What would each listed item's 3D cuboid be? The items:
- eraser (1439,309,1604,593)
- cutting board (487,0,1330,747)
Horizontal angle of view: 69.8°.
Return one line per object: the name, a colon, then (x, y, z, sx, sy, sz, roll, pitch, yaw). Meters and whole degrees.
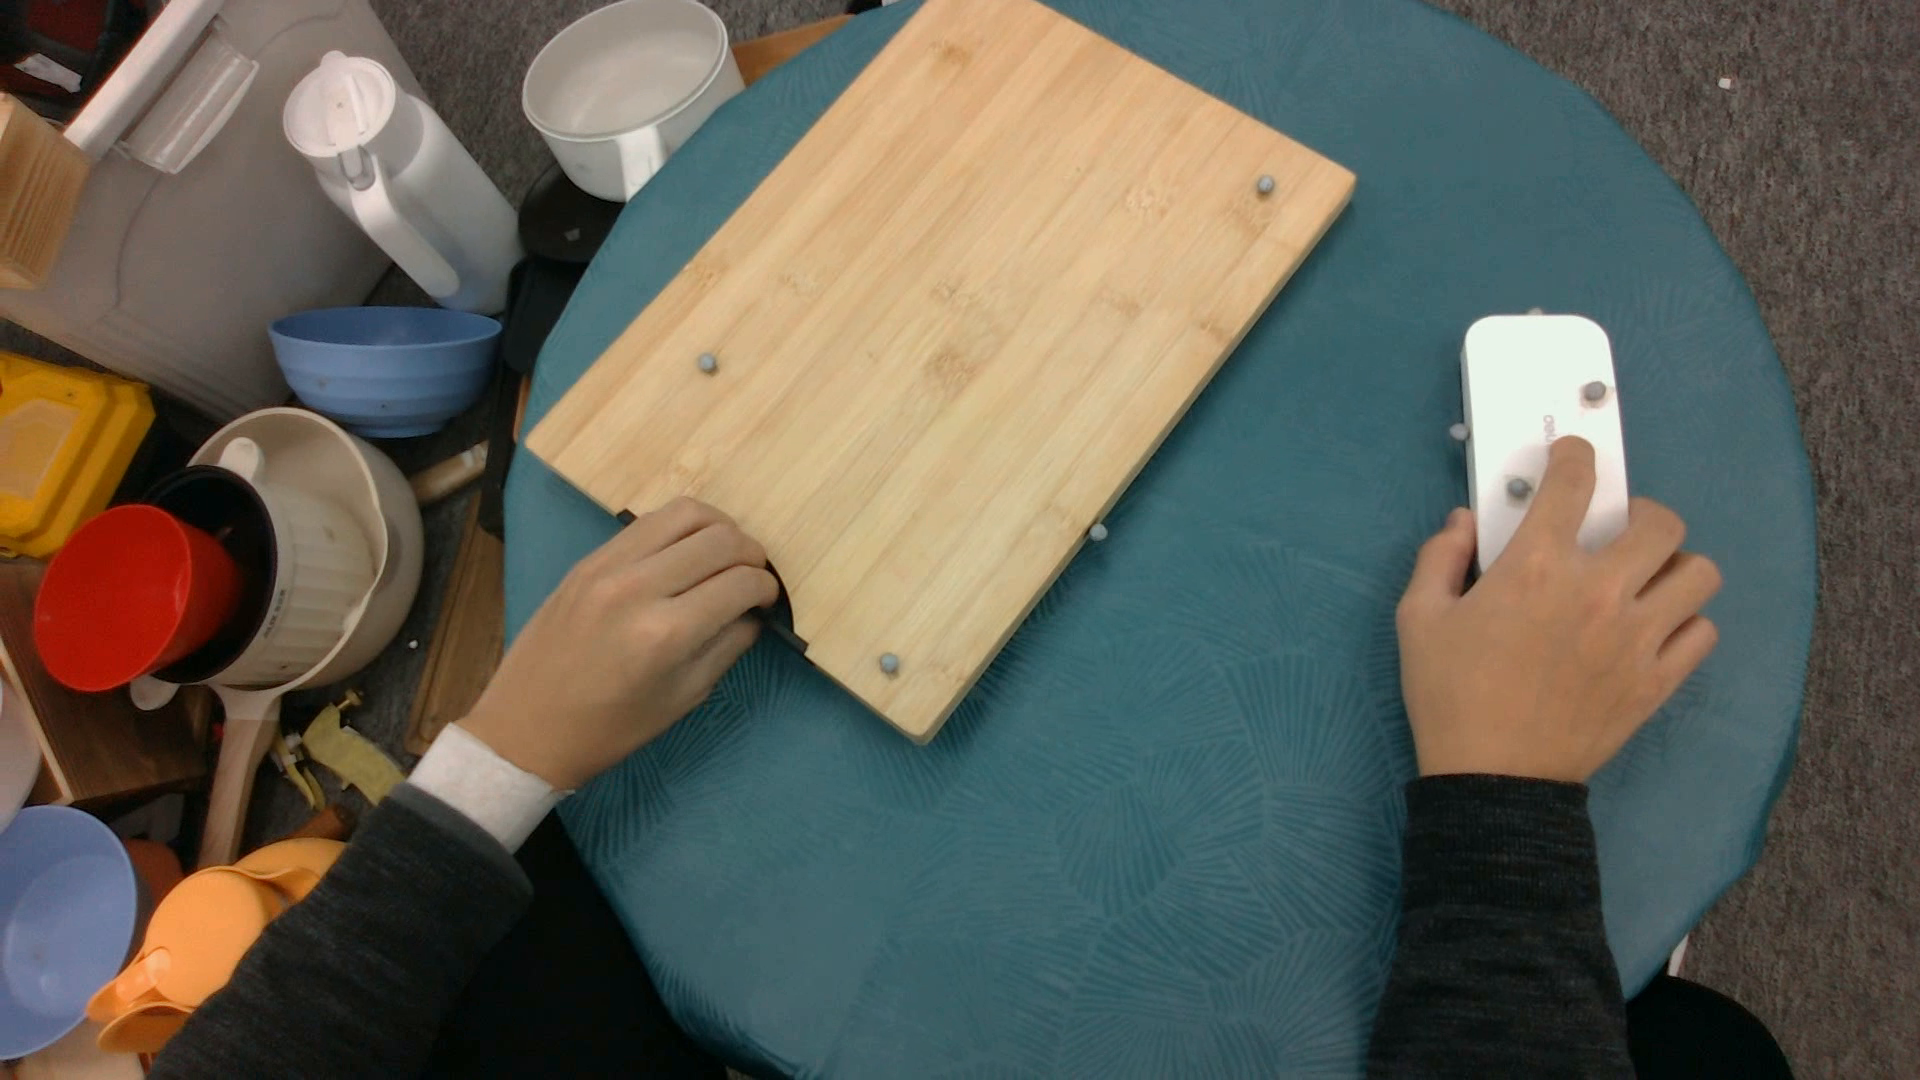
eraser: (0.244, -0.041, 0.608, 0.063, 0.034, 0.131, 3, 70, 6)
cutting board: (-0.019, -0.108, 0.659, 0.251, 0.023, 0.349, 34, 75, 16)
